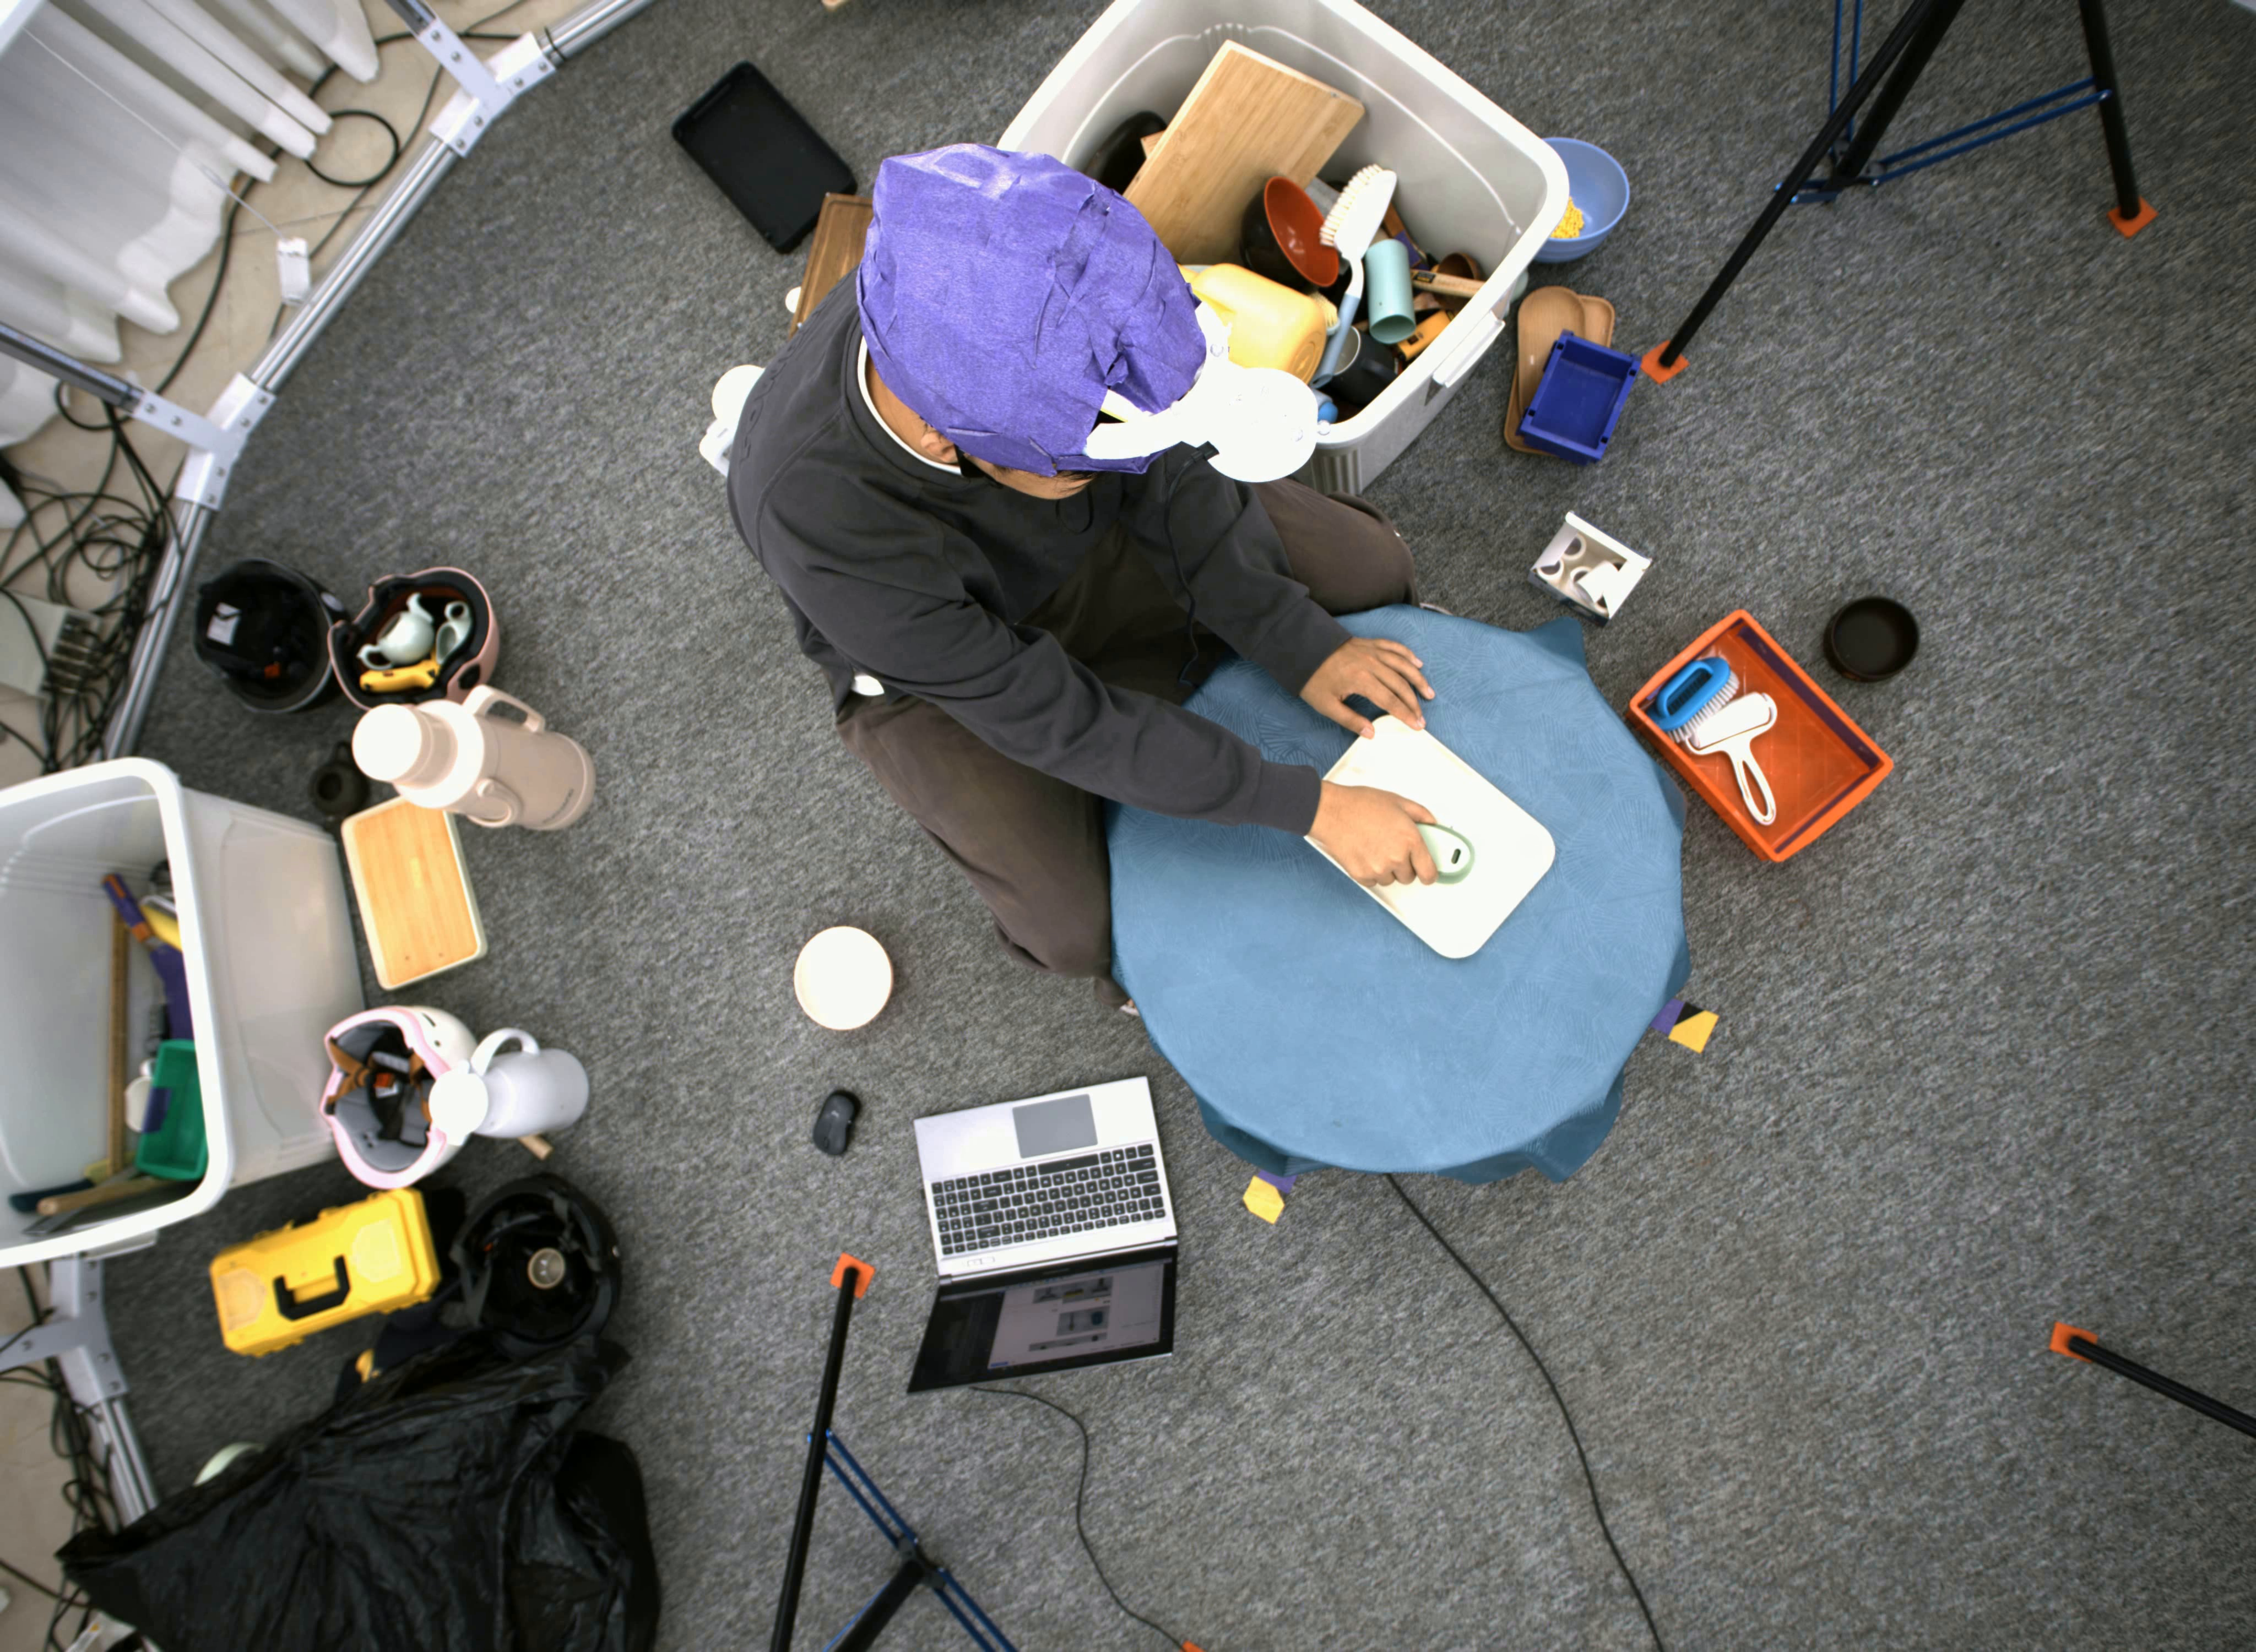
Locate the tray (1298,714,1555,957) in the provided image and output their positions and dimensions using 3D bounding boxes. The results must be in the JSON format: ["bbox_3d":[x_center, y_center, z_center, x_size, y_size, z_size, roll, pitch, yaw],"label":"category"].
[{"bbox_3d":[0.312,0.007,1.448,0.238,0.017,0.172,42,94,11],"label":"tray"}]

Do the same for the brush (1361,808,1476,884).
[{"bbox_3d":[0.302,0.019,1.427,0.123,0.076,0.059,19,91,26],"label":"brush"}]
